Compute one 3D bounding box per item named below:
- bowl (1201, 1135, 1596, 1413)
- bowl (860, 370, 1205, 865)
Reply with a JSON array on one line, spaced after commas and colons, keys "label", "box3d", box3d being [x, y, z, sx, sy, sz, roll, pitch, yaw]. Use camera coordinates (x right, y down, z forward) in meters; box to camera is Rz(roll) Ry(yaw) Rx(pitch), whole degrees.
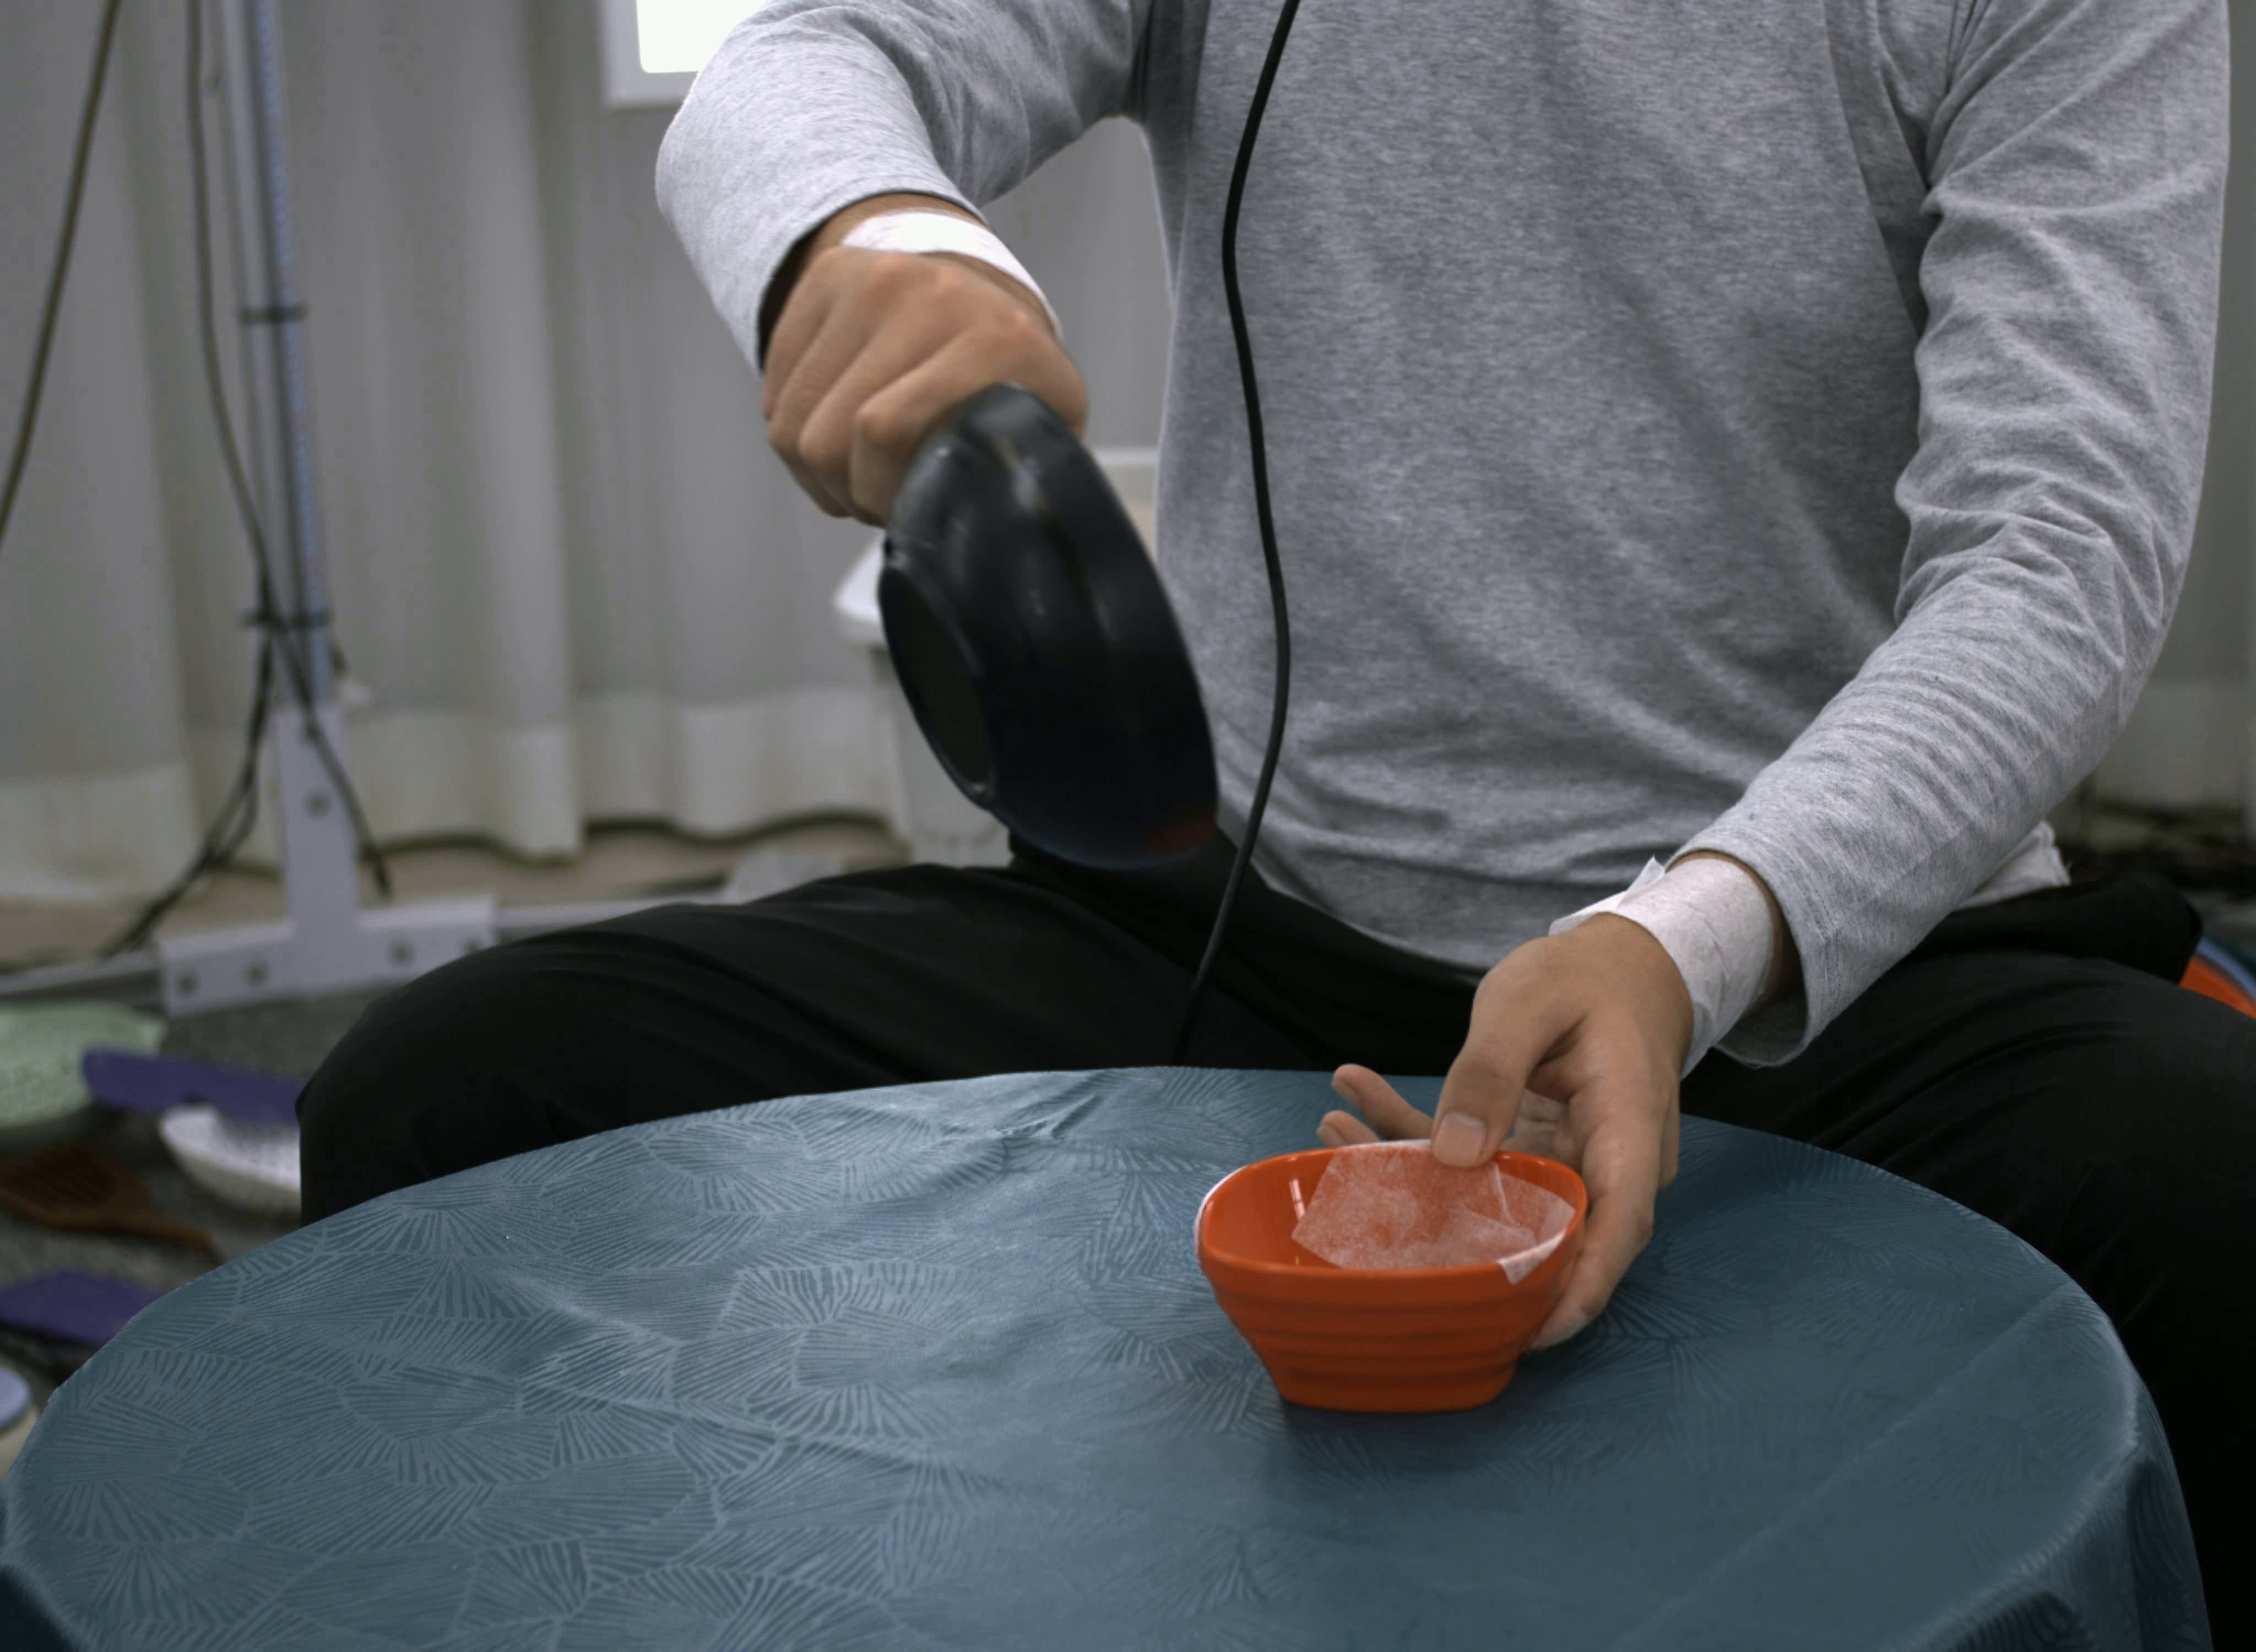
[{"label": "bowl", "box3d": [0.078, 0.129, 1.542, 0.118, 0.051, 0.120, -5, 17, 1]}, {"label": "bowl", "box3d": [-0.034, -0.048, 1.459, 0.049, 0.139, 0.141, -22, 20, -19]}]
